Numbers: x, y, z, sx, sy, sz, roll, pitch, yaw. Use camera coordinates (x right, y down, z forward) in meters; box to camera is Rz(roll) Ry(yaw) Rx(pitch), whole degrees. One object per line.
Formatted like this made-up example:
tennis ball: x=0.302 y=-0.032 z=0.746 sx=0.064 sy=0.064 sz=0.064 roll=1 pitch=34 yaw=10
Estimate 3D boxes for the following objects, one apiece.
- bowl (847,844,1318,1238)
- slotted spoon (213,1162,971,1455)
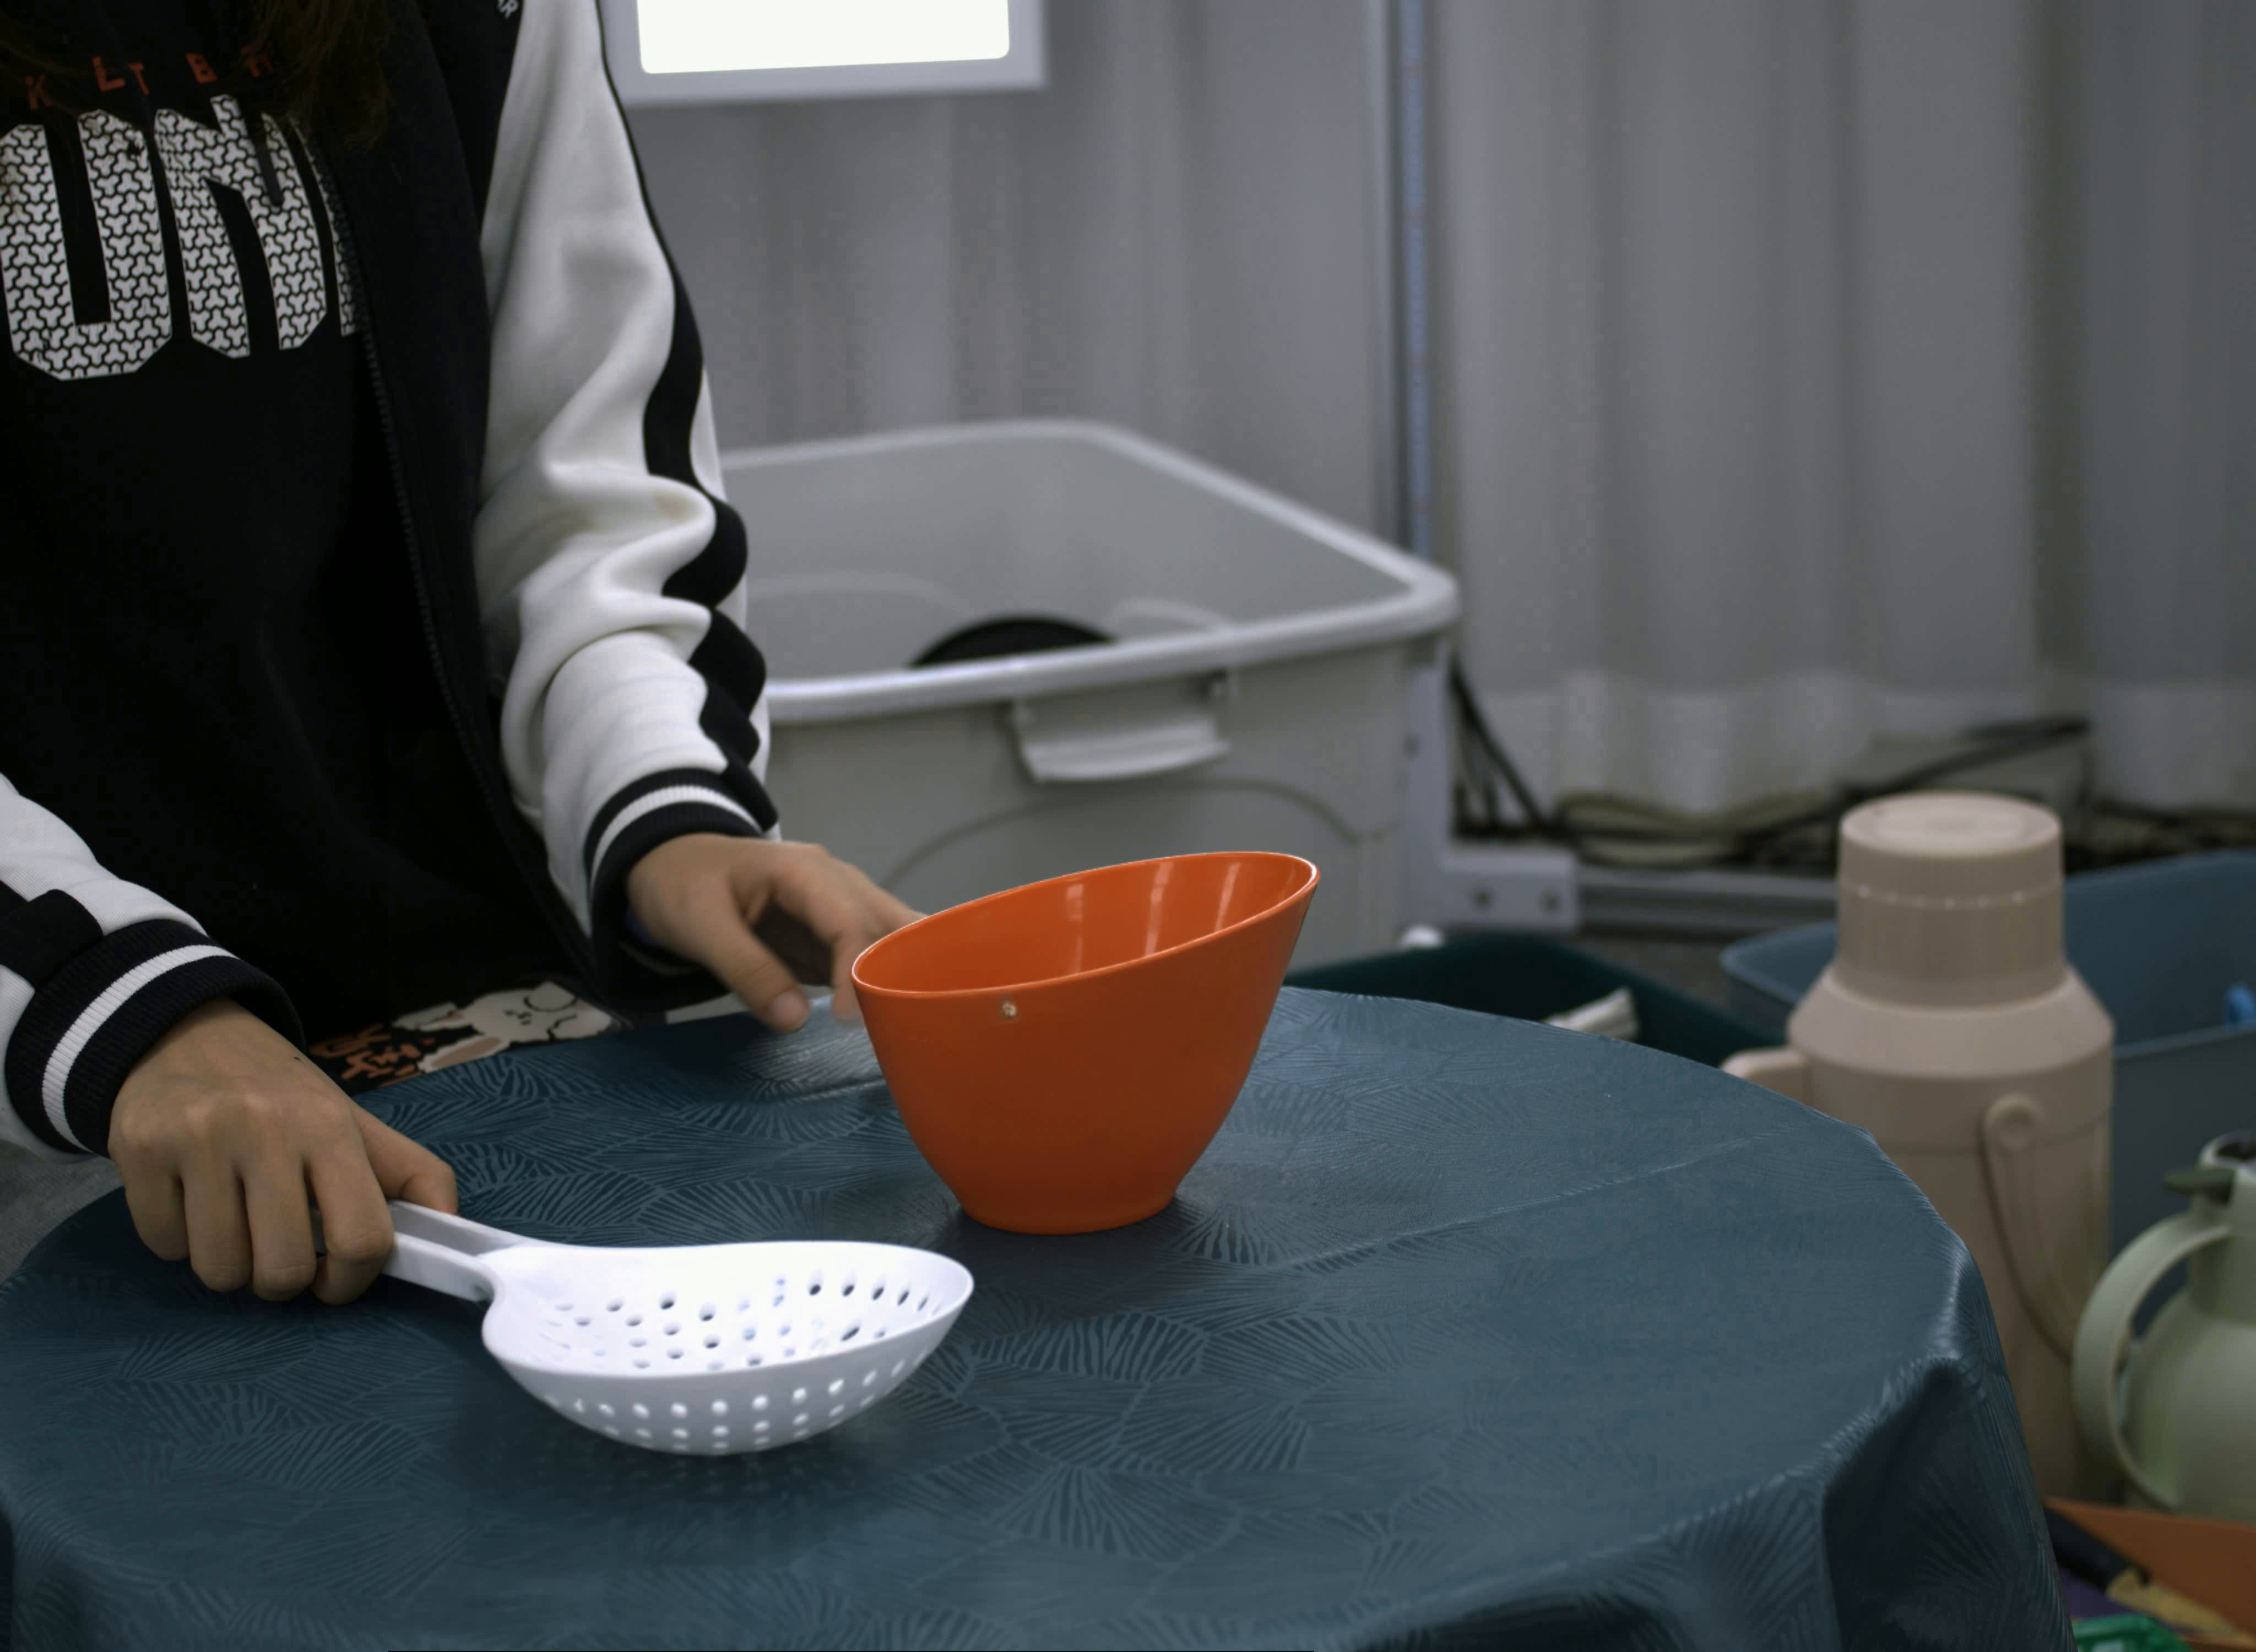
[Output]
bowl: x=-0.011 y=0.068 z=1.691 sx=0.147 sy=0.104 sz=0.149 roll=-5 pitch=17 yaw=1
slotted spoon: x=-0.176 y=0.131 z=1.600 sx=0.135 sy=0.045 sz=0.352 roll=-10 pitch=16 yaw=-36
